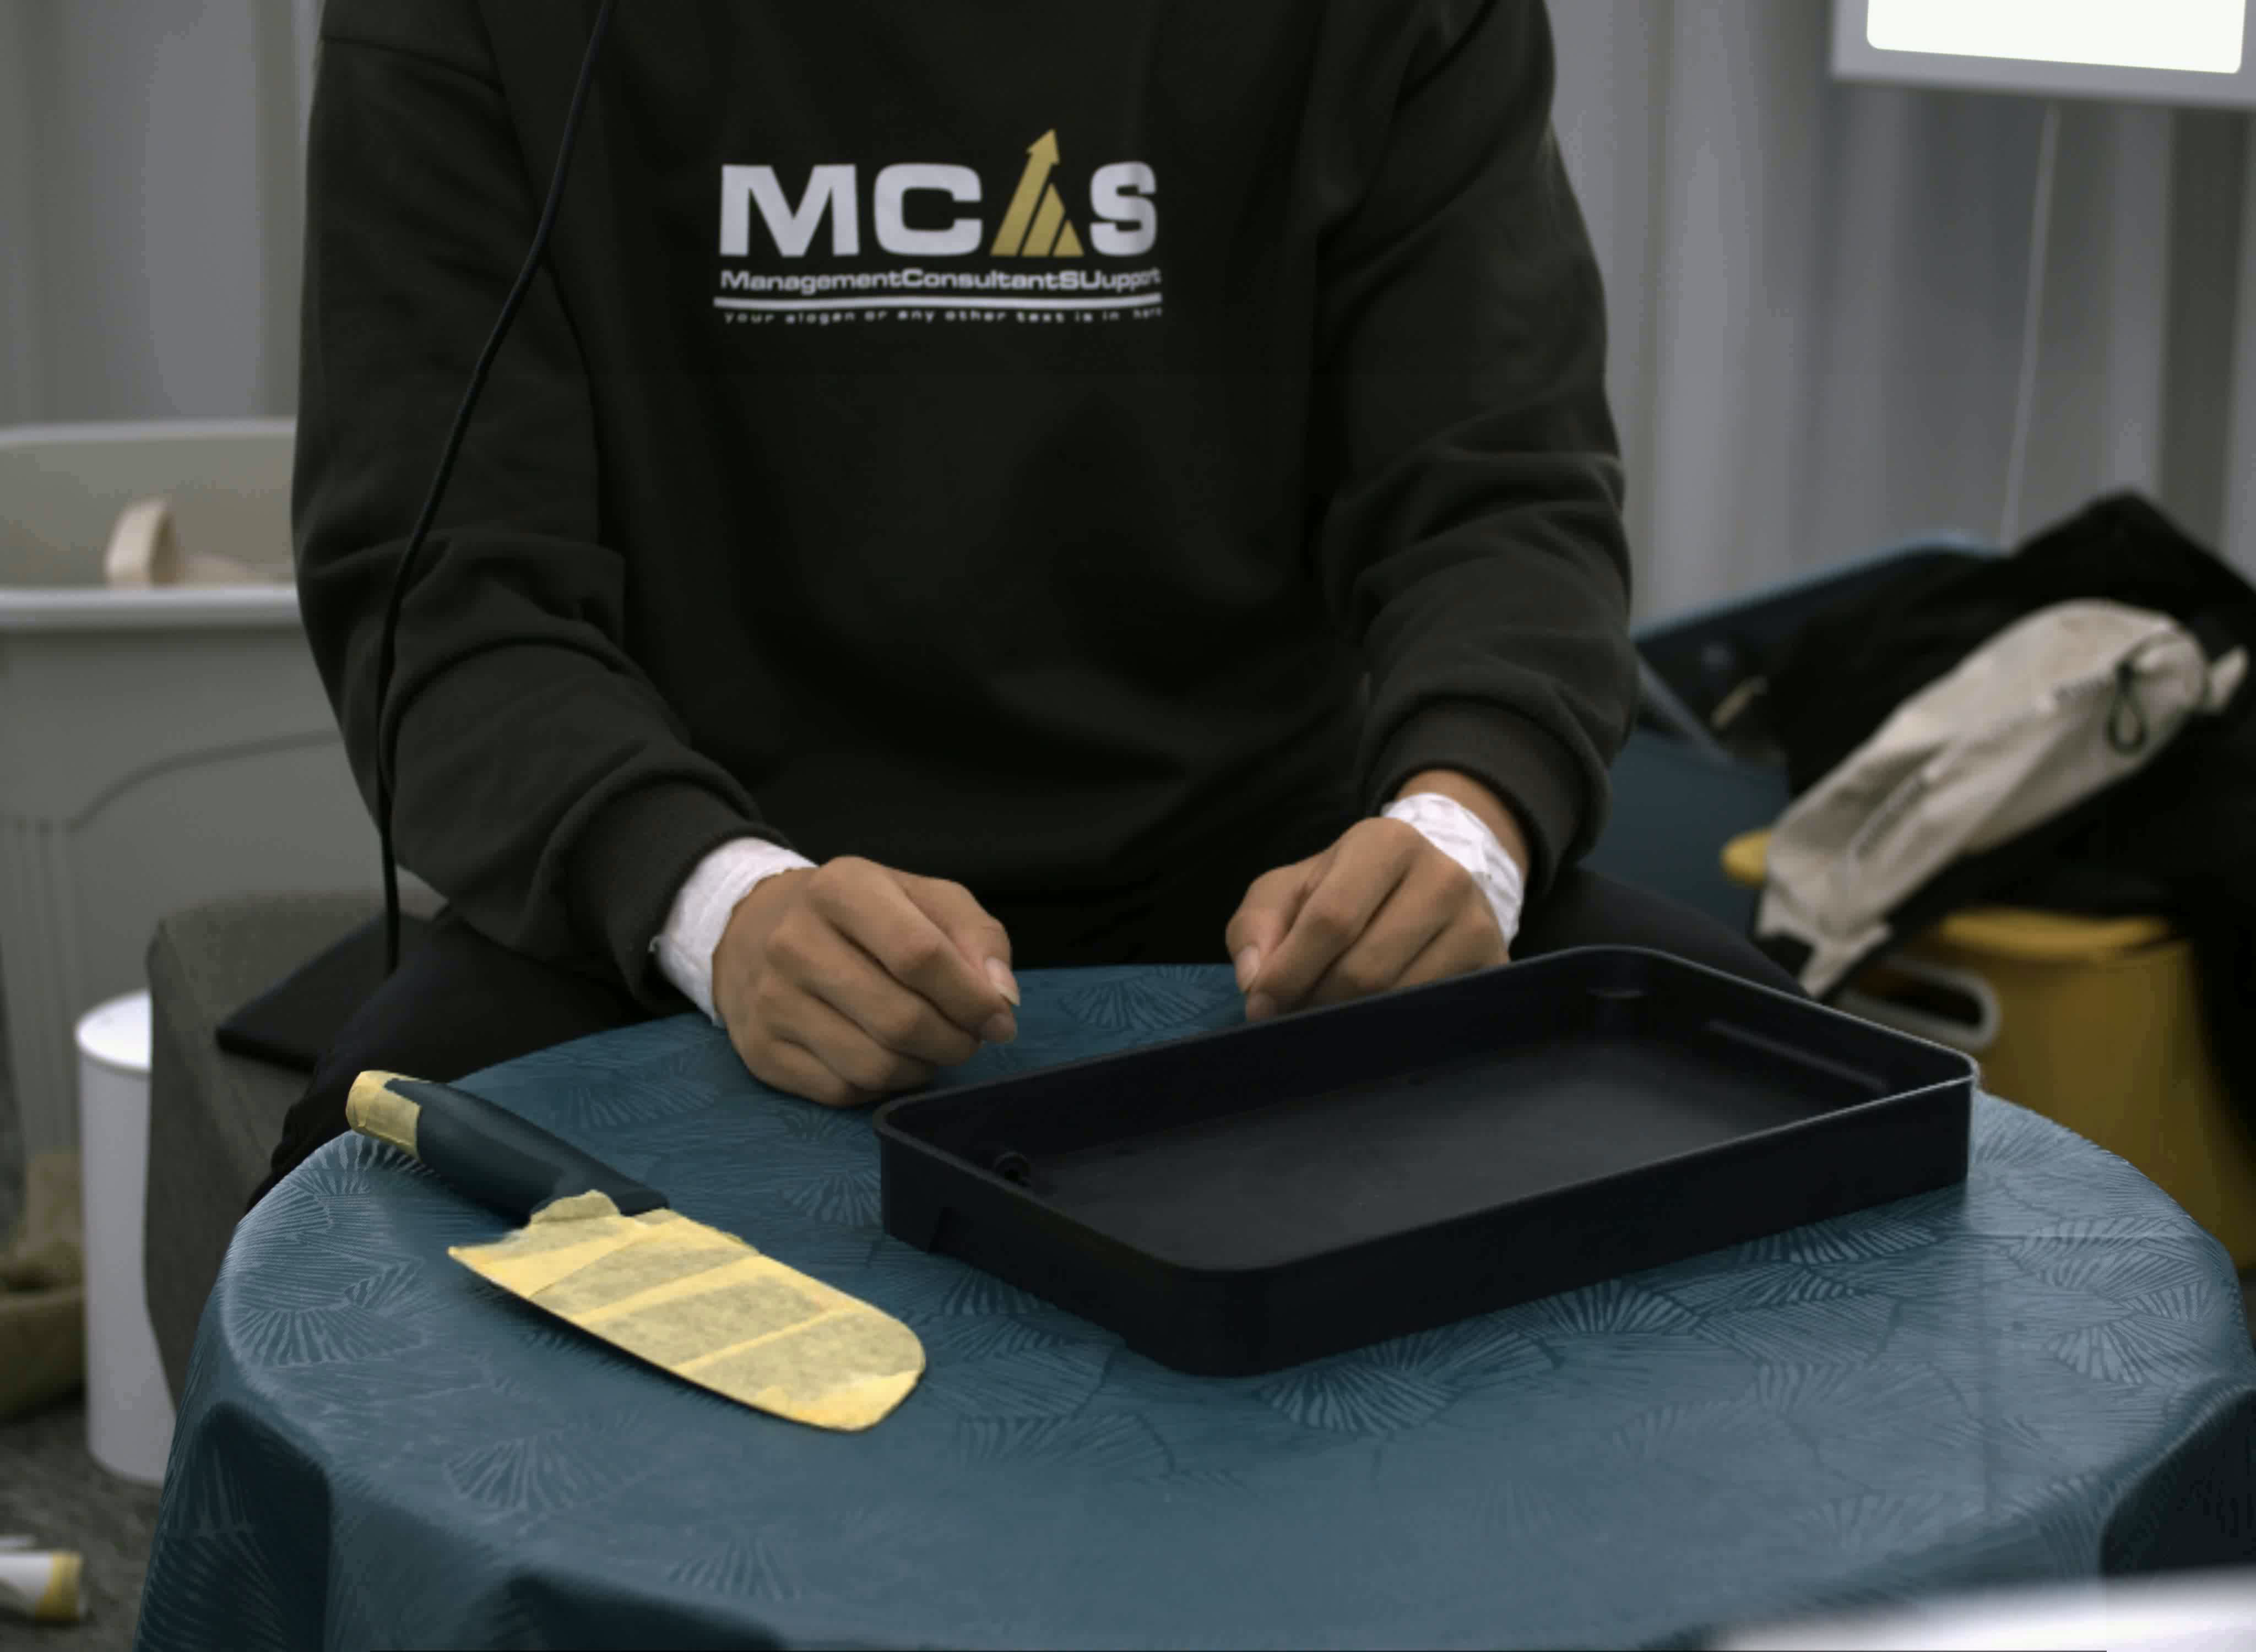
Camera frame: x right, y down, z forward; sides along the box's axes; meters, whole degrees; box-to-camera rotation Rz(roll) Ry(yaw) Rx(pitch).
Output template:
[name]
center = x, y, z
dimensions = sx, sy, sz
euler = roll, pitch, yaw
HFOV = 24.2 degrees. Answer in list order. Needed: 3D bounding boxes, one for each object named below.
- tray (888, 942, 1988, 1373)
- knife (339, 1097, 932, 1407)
[tray]
center = 0.098, 0.096, 1.620
dimensions = 0.319, 0.037, 0.182
euler = -12, 19, -38
[knife]
center = -0.156, 0.126, 1.543
dimensions = 0.081, 0.027, 0.285
euler = -10, 20, -39
